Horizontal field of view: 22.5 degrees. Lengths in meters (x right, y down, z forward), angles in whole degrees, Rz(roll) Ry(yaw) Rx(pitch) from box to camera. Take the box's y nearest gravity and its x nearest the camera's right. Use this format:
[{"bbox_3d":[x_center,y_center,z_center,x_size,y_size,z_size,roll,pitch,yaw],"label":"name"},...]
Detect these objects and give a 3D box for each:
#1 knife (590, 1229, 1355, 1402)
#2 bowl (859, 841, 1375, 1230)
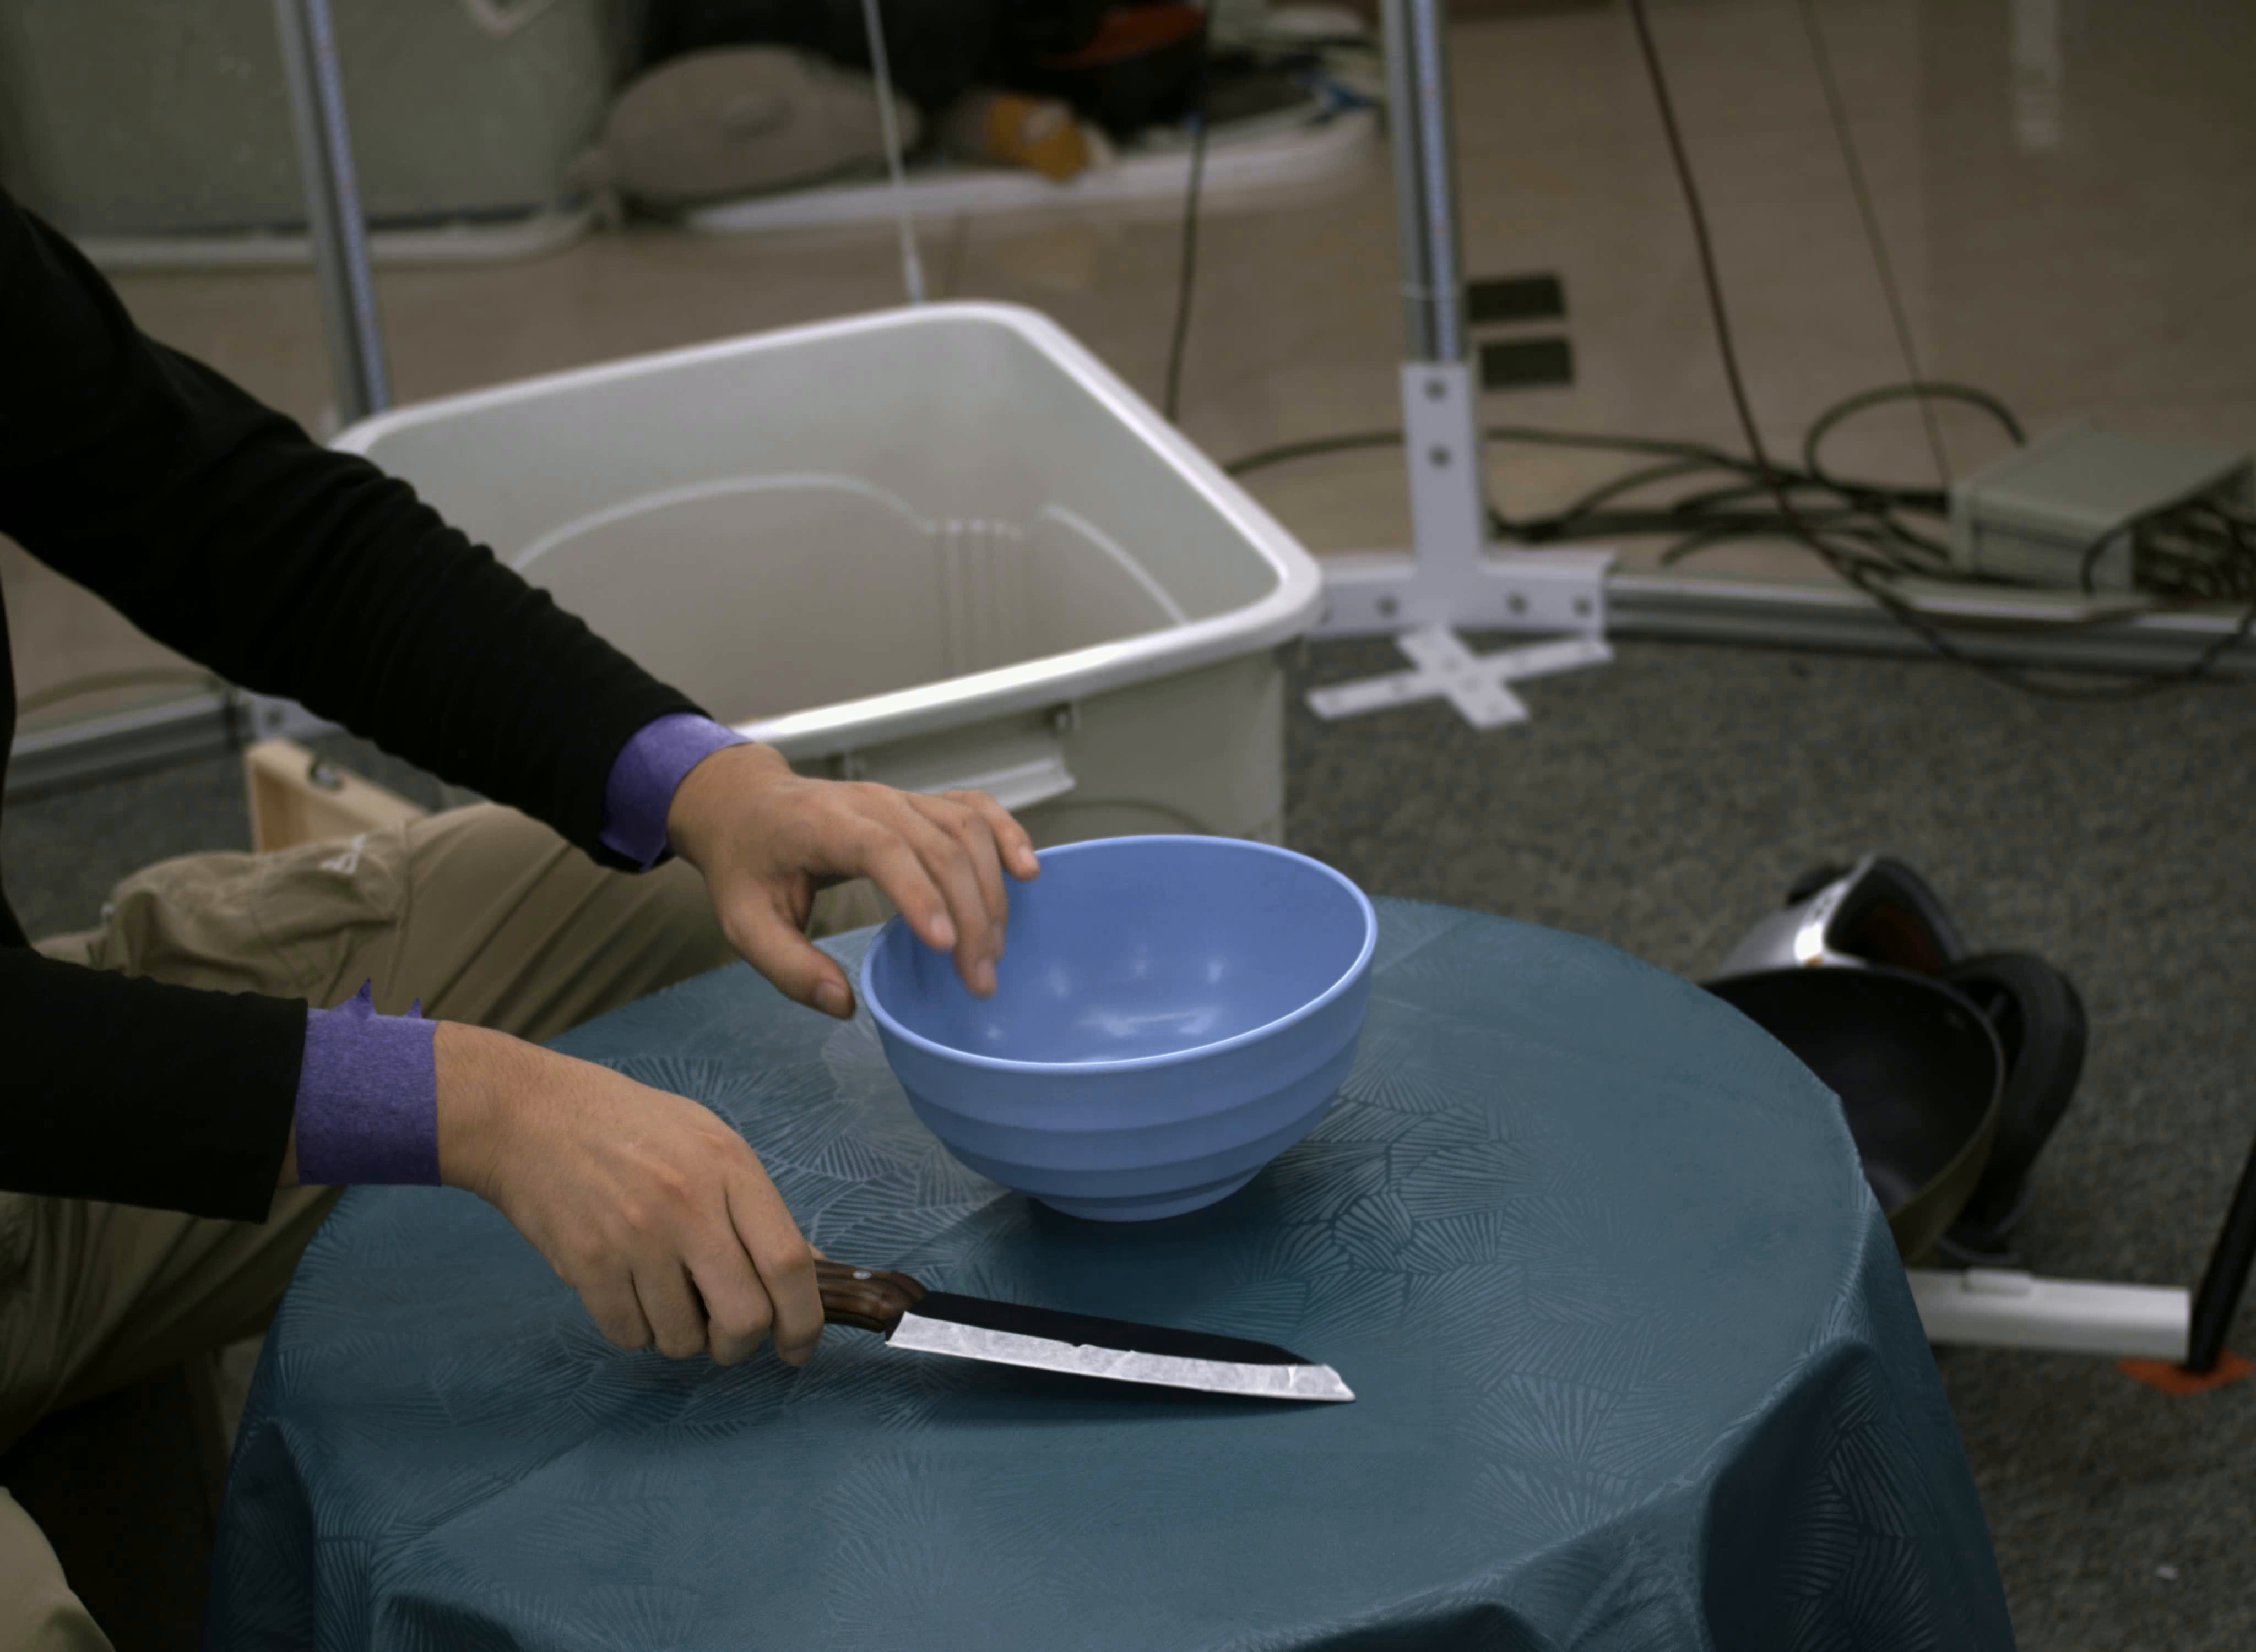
[{"bbox_3d":[-0.059,0.177,2.029,0.288,0.020,0.049,9,26,12],"label":"knife"},{"bbox_3d":[0.002,0.090,2.148,0.196,0.097,0.193,-7,25,3],"label":"bowl"}]
